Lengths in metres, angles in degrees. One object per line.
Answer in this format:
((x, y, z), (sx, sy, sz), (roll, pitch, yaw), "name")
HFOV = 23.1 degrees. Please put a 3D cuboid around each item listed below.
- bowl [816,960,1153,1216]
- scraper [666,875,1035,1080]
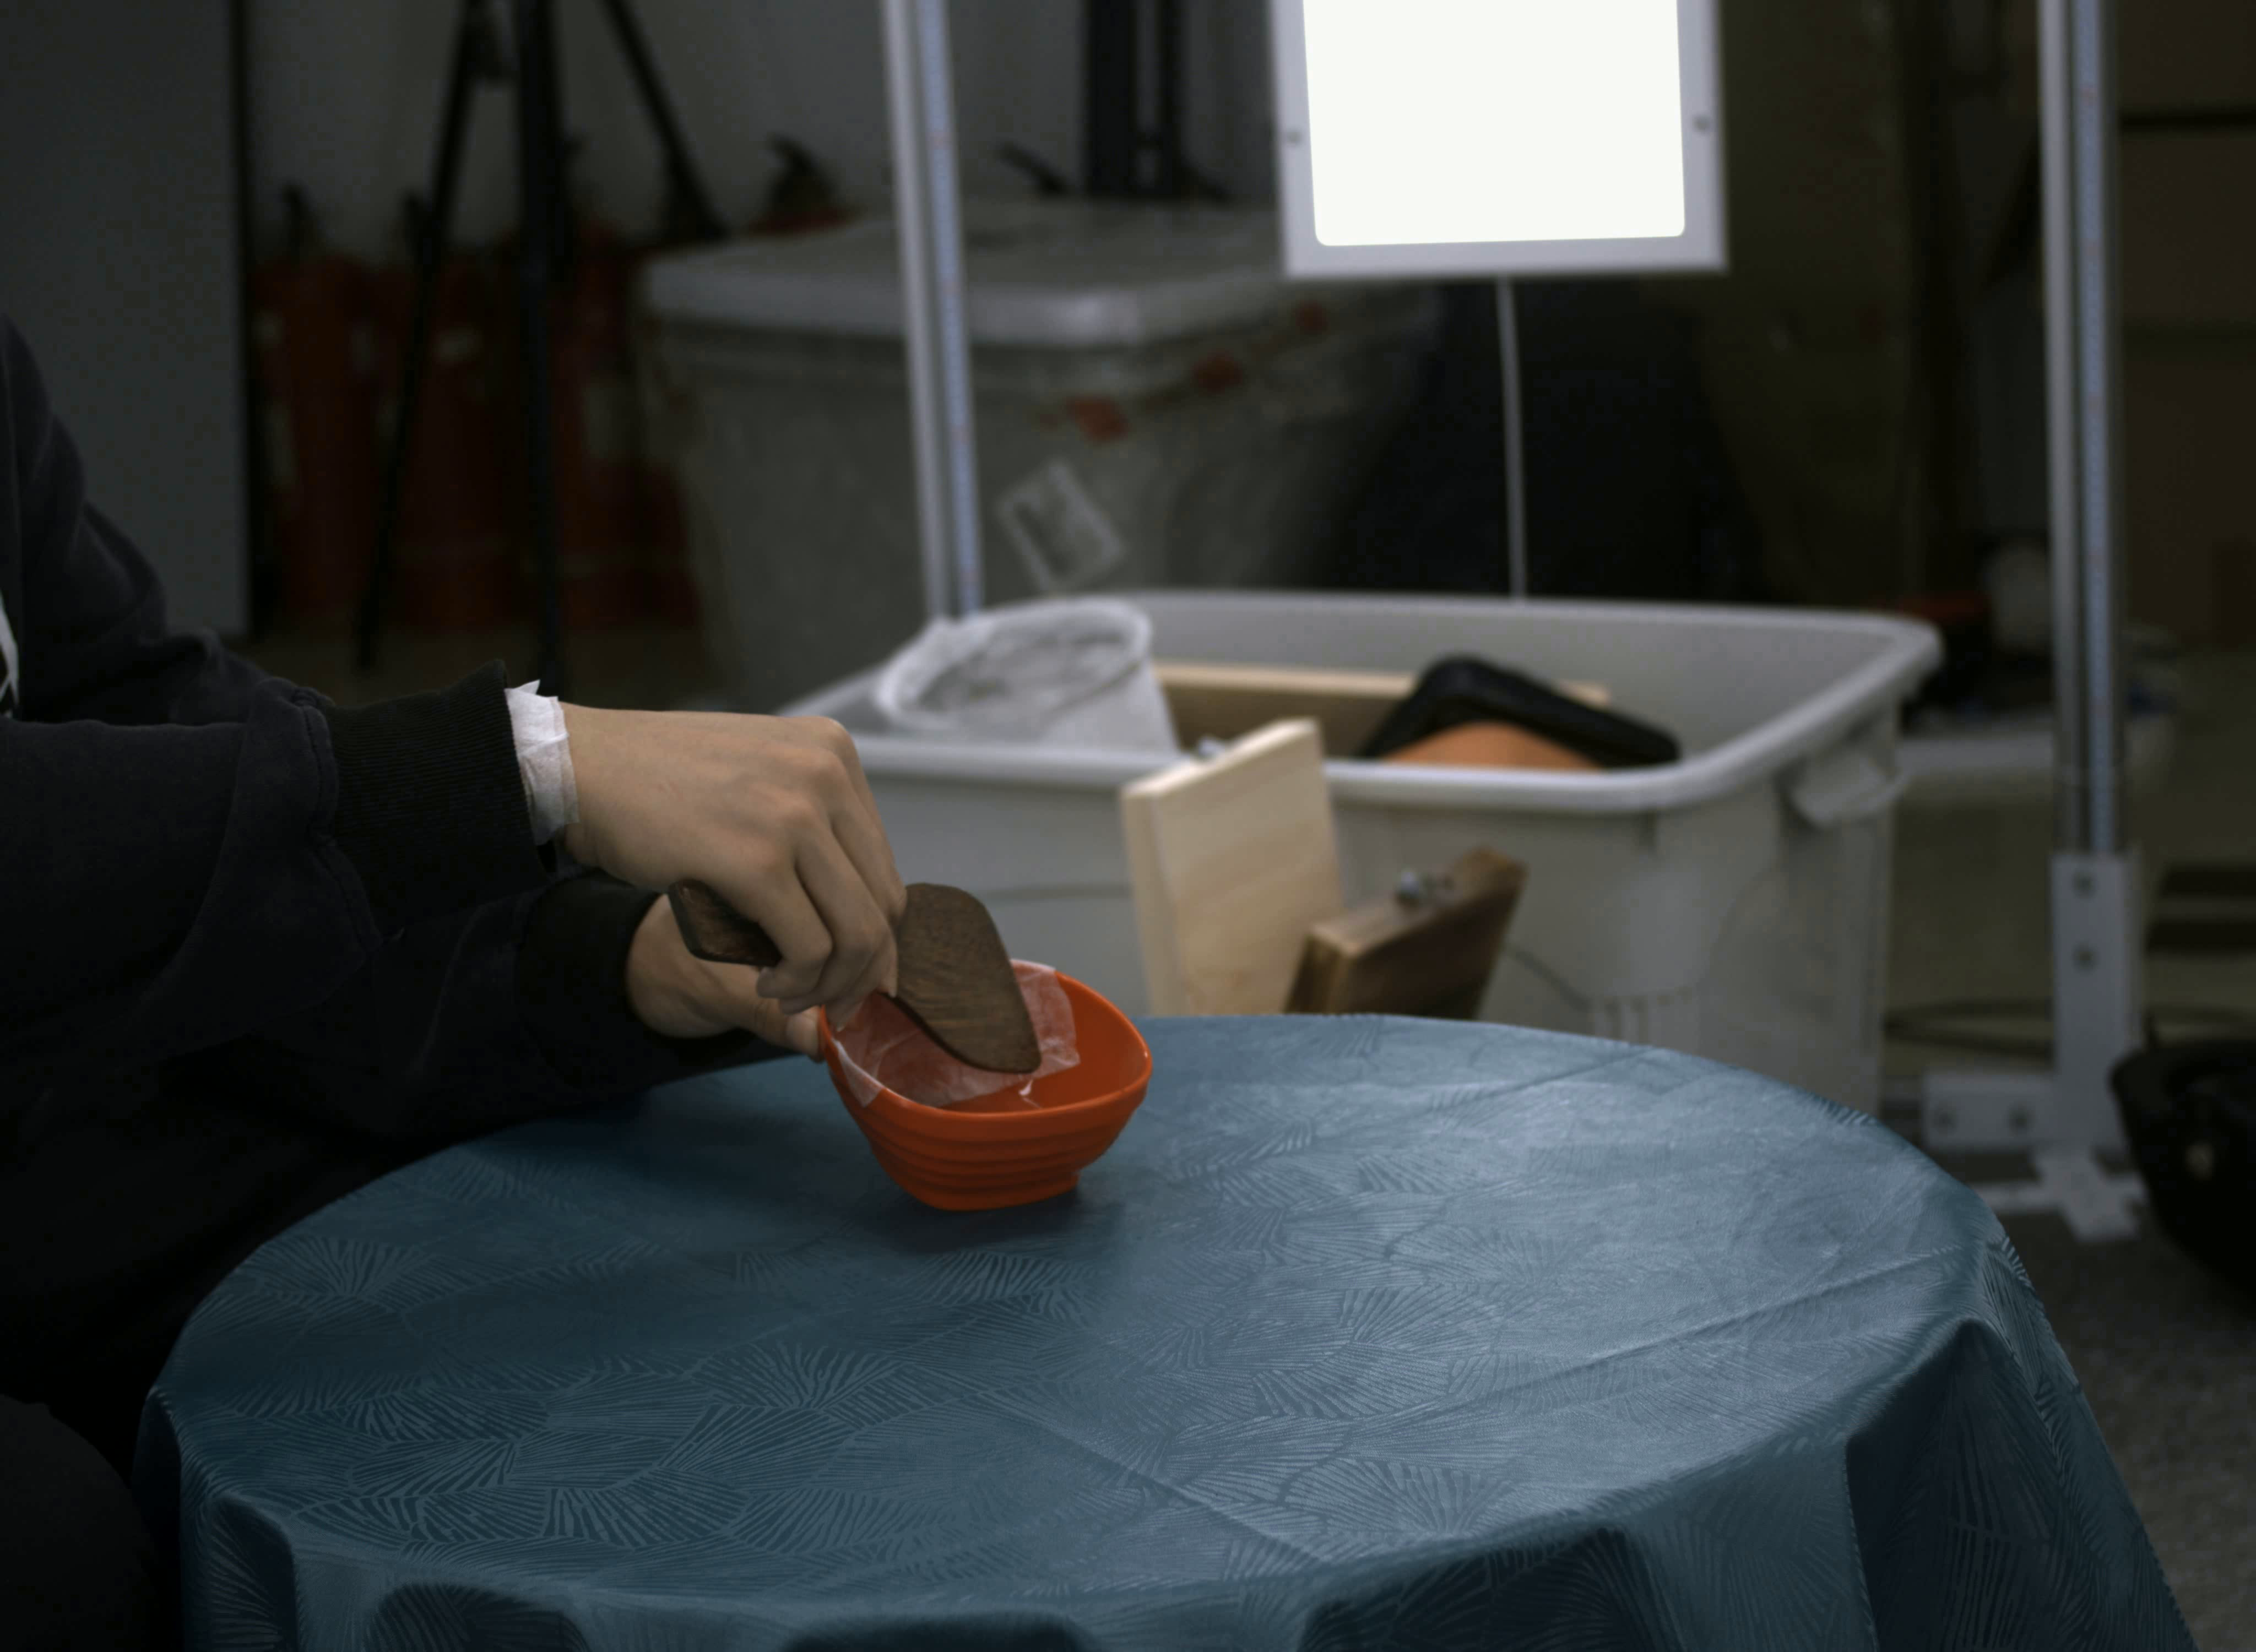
((-0.052, 0.095, 1.909), (0.118, 0.052, 0.118), (4, 27, -4), "bowl")
((-0.094, 0.042, 1.848), (0.011, 0.076, 0.207), (-28, -21, 22), "scraper")
